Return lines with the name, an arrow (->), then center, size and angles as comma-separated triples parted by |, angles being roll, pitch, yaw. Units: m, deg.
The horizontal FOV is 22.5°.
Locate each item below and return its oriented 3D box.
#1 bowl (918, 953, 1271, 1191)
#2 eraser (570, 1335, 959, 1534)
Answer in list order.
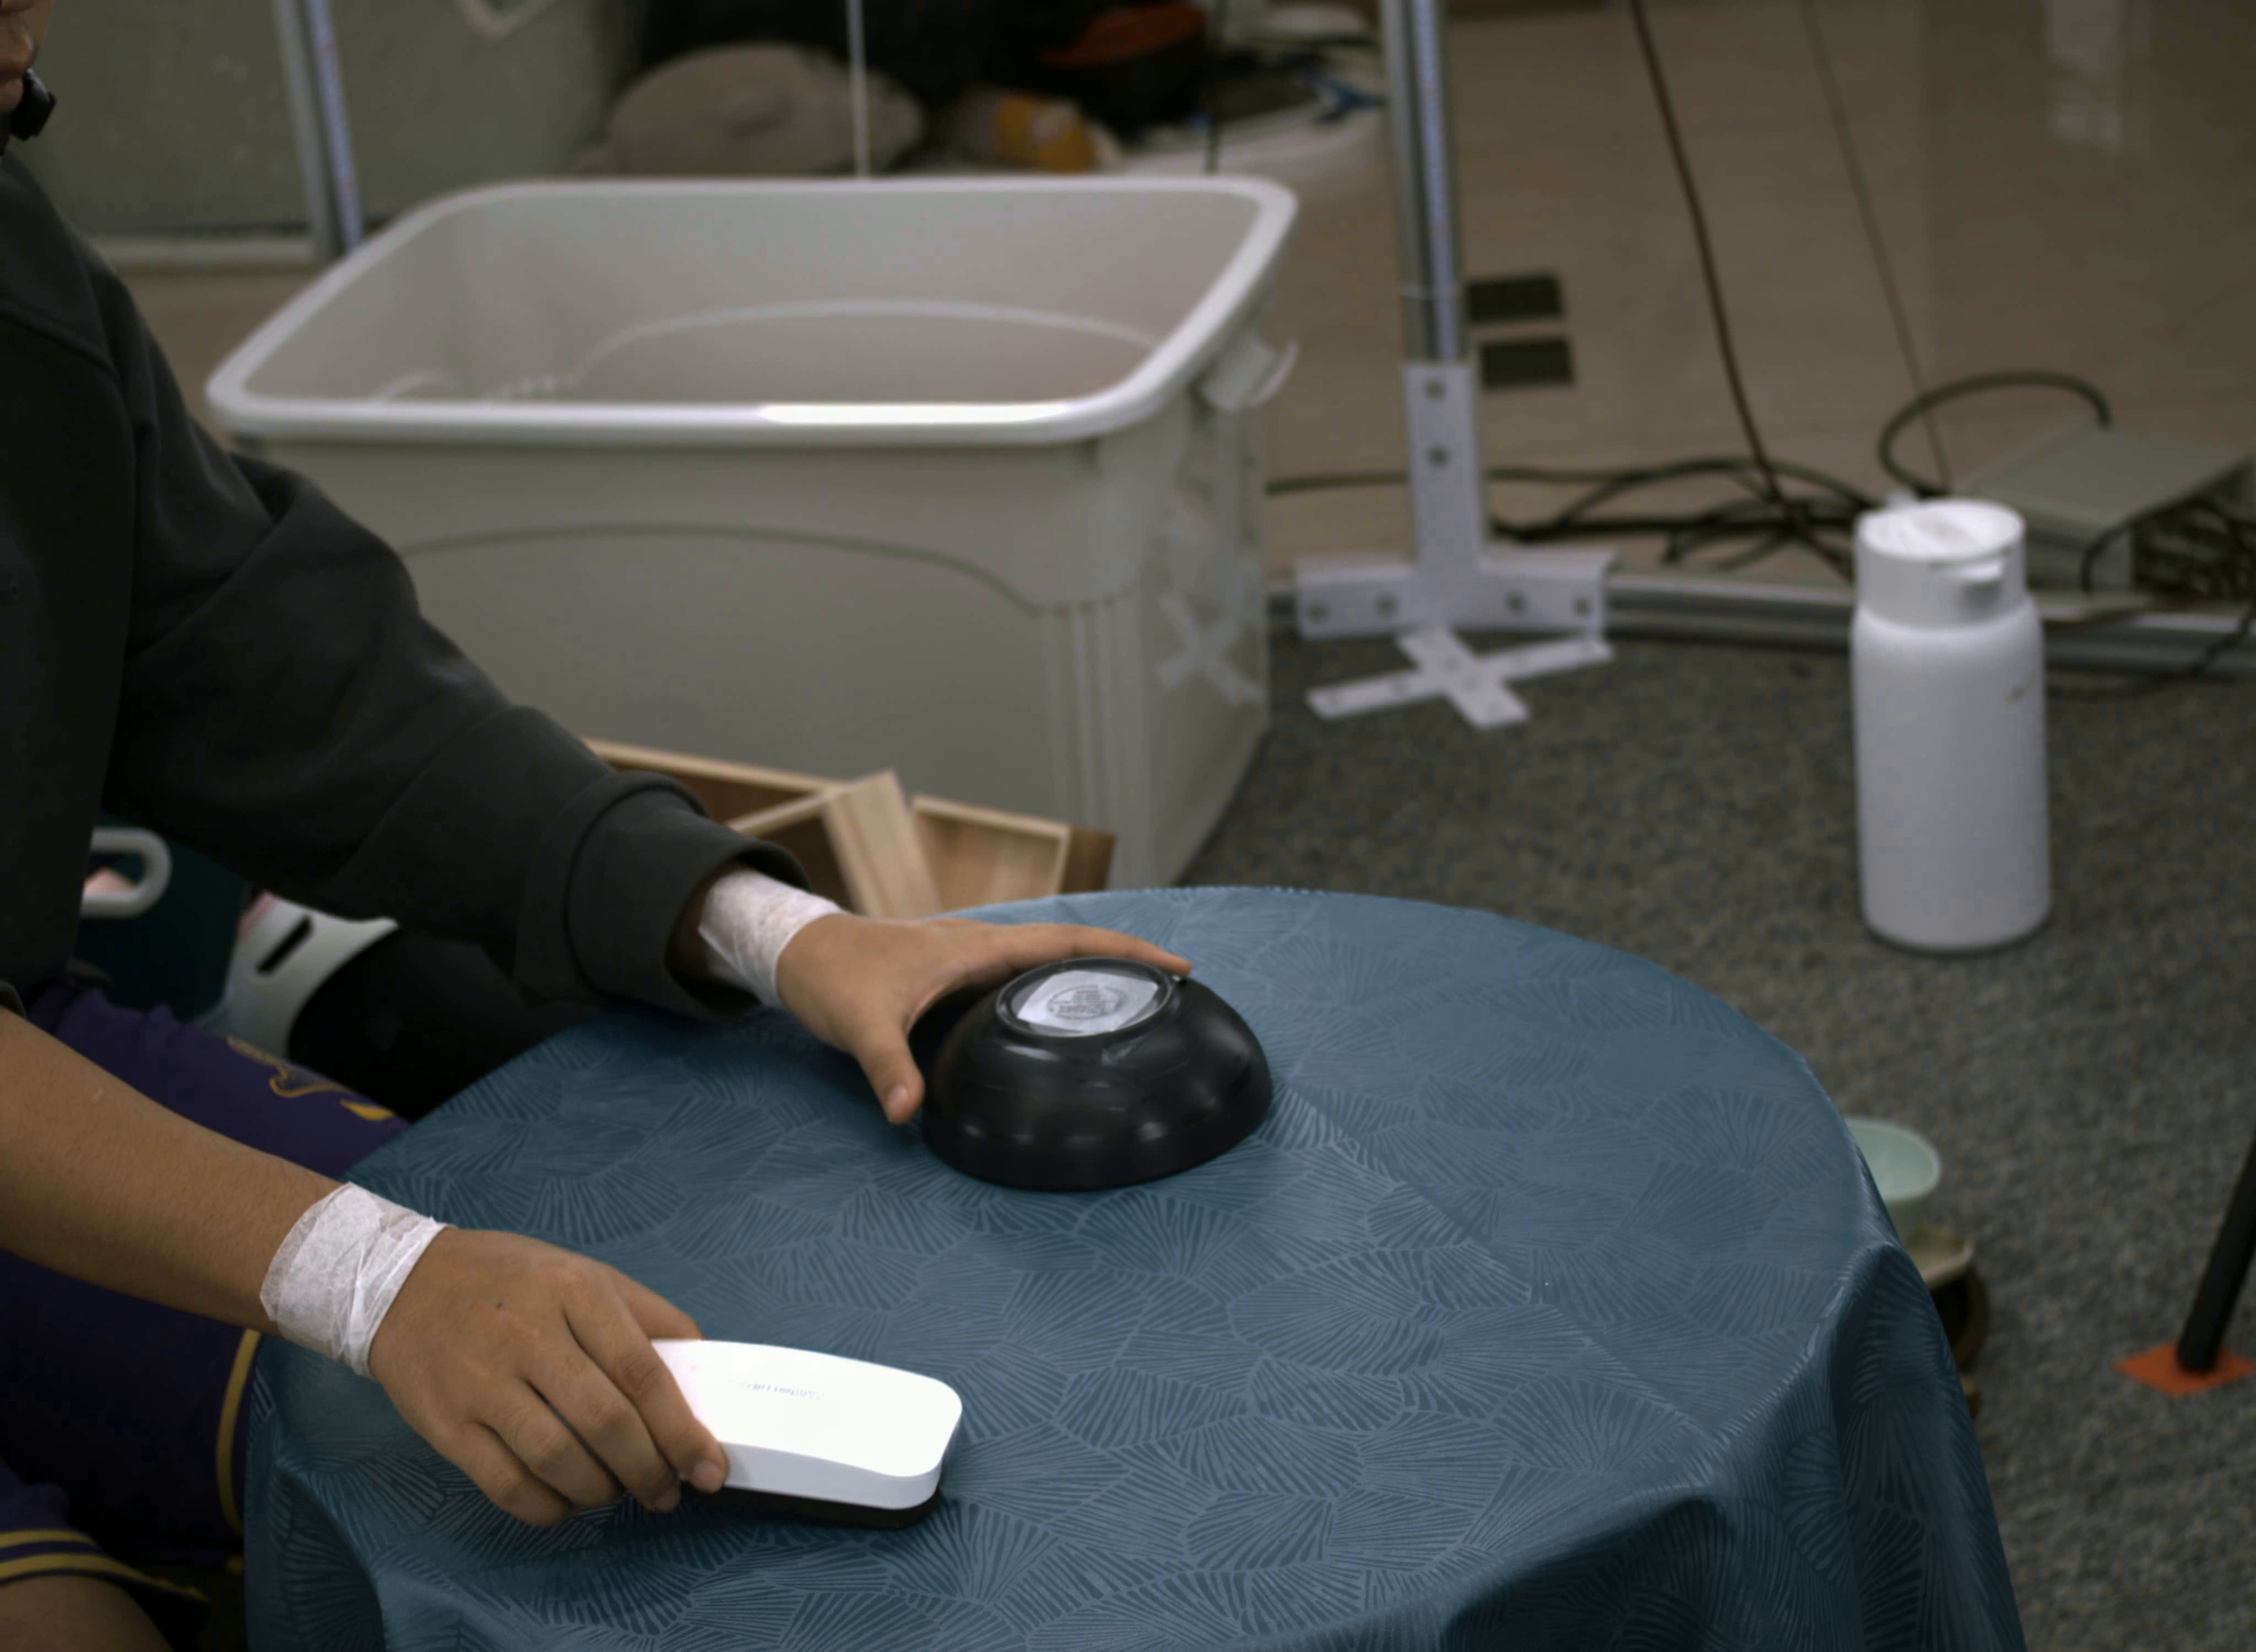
bowl -> -0.015, 0.087, 2.201 | 0.140, 0.050, 0.138 | -5, 27, 2
eraser -> -0.126, 0.210, 1.972 | 0.131, 0.035, 0.062 | 8, 28, 13
